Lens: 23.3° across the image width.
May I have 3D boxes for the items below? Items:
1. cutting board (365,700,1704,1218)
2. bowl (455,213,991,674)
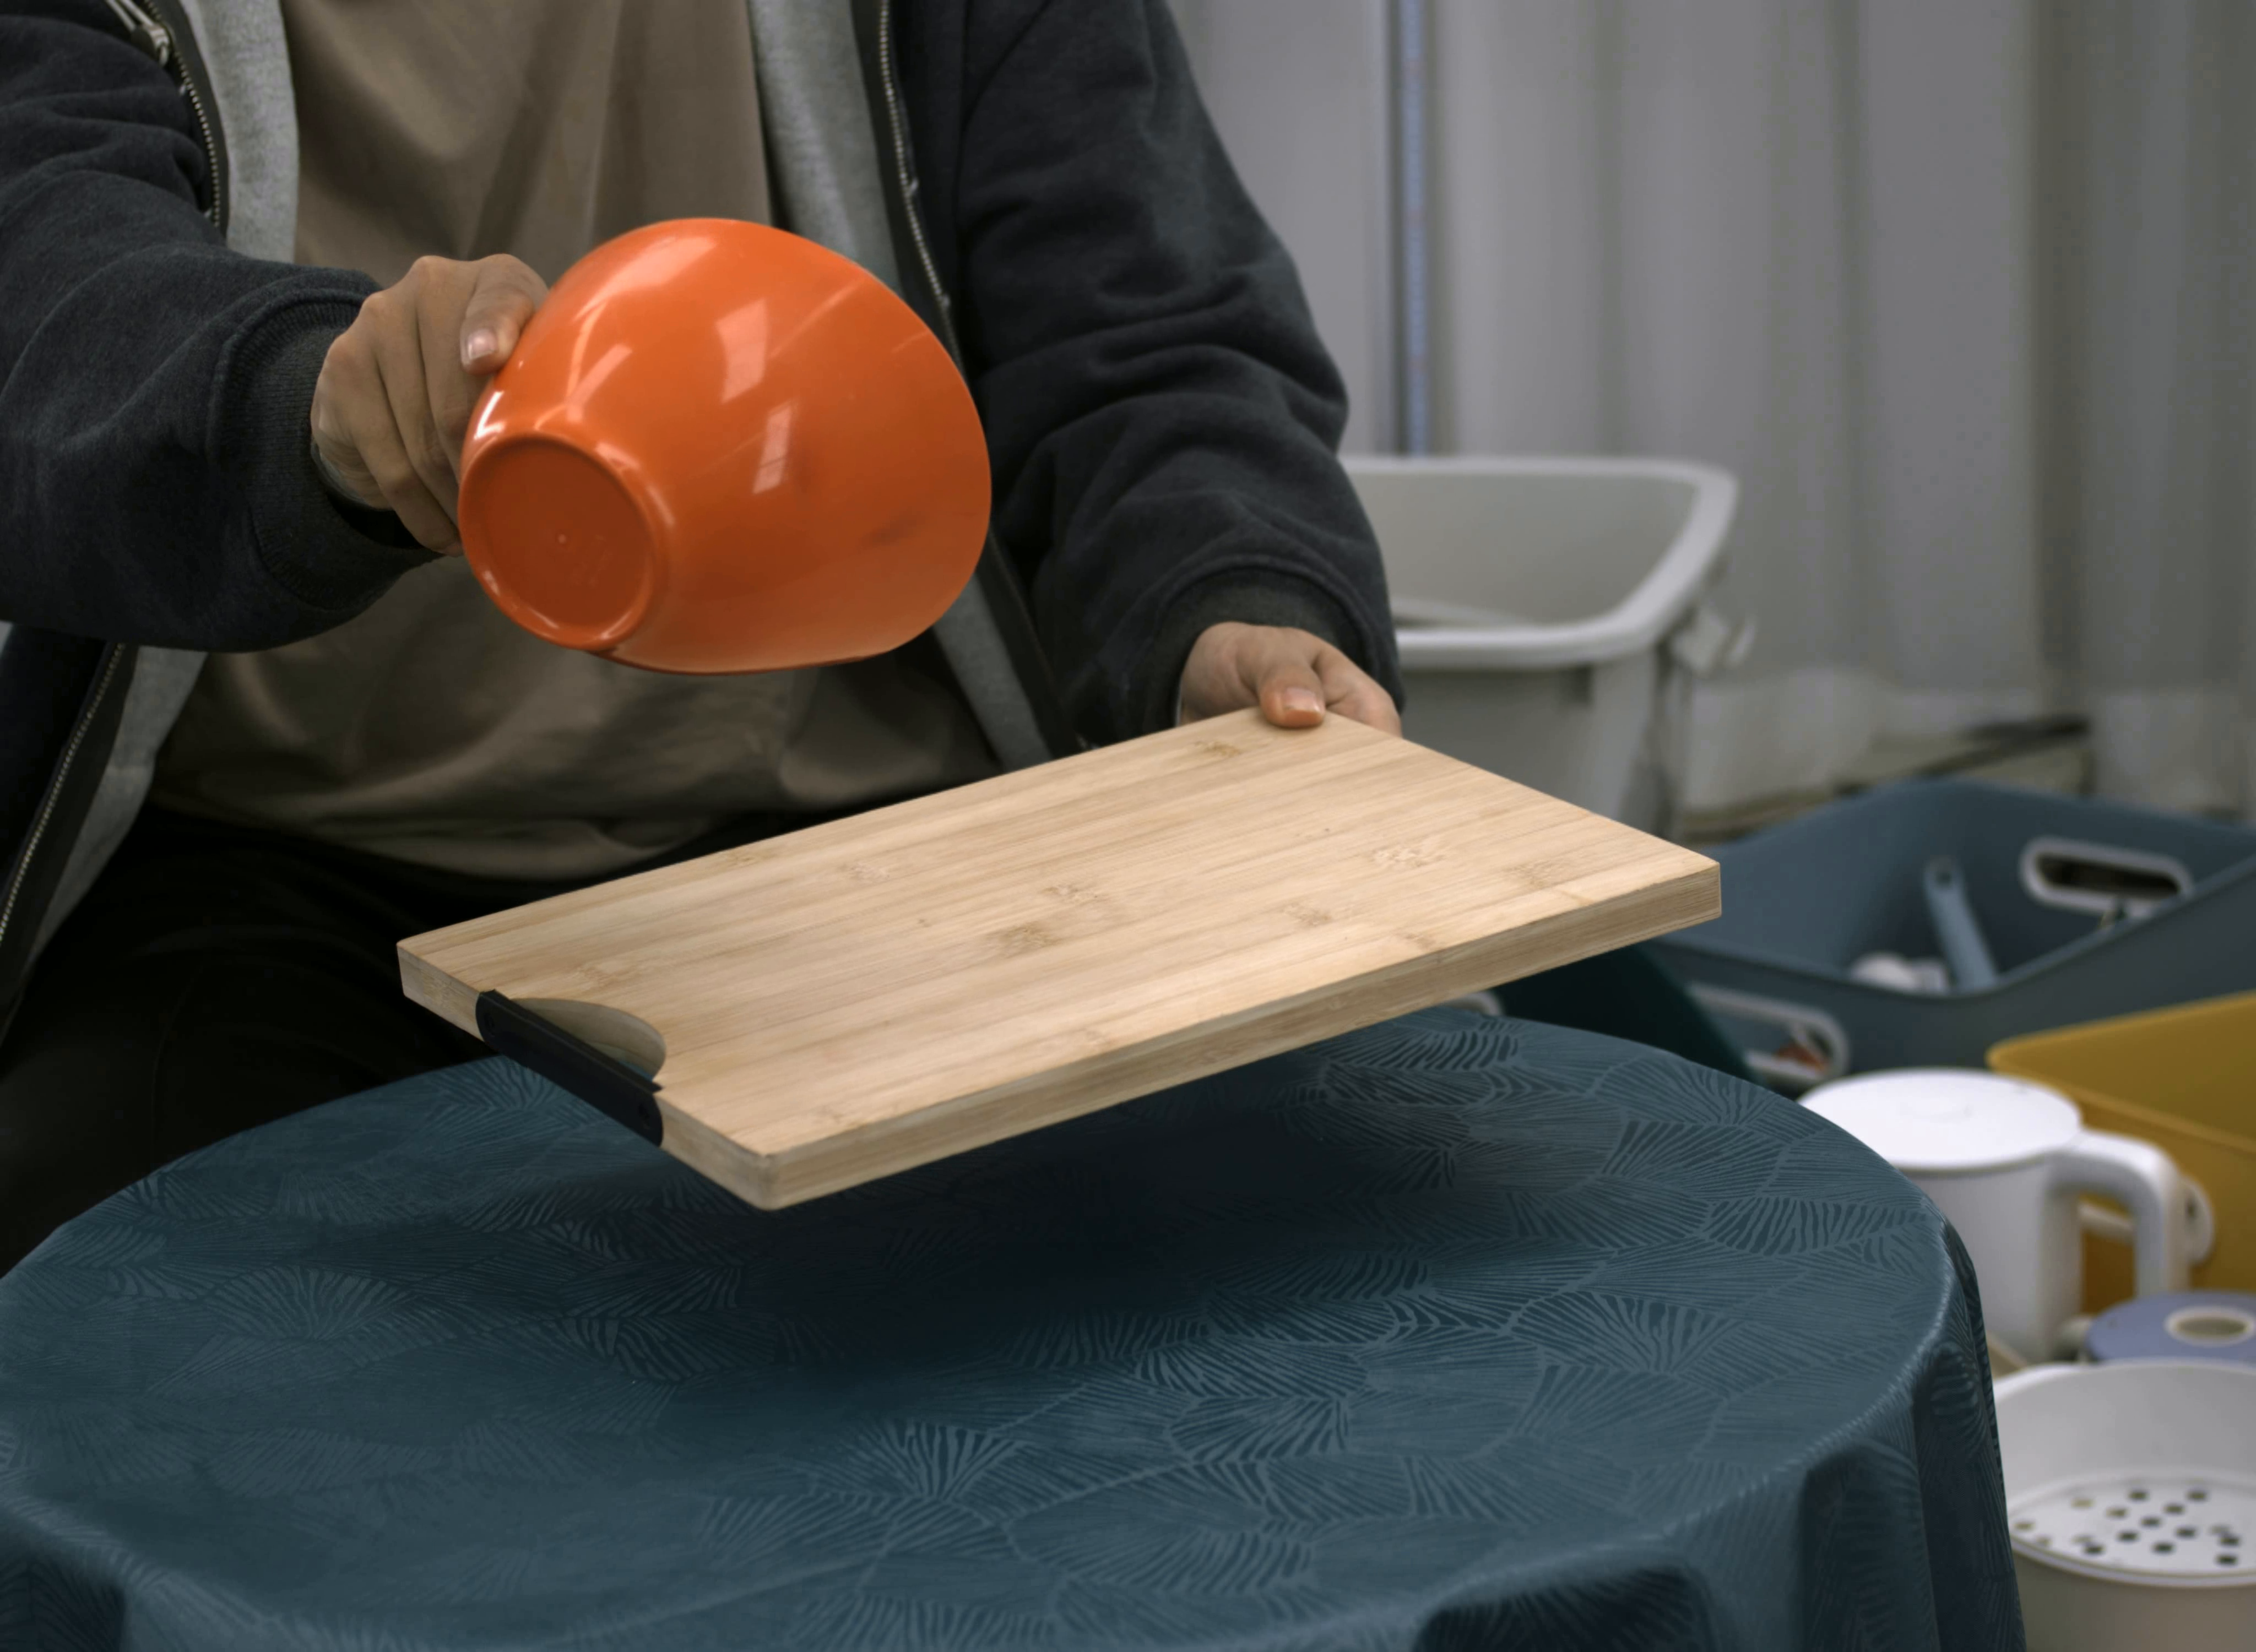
[{"bbox_3d":[-0.028,0.034,1.693,0.348,0.023,0.252,-16,21,-30],"label":"cutting board"},{"bbox_3d":[-0.128,-0.095,1.573,0.148,0.147,0.105,6,28,30],"label":"bowl"}]
